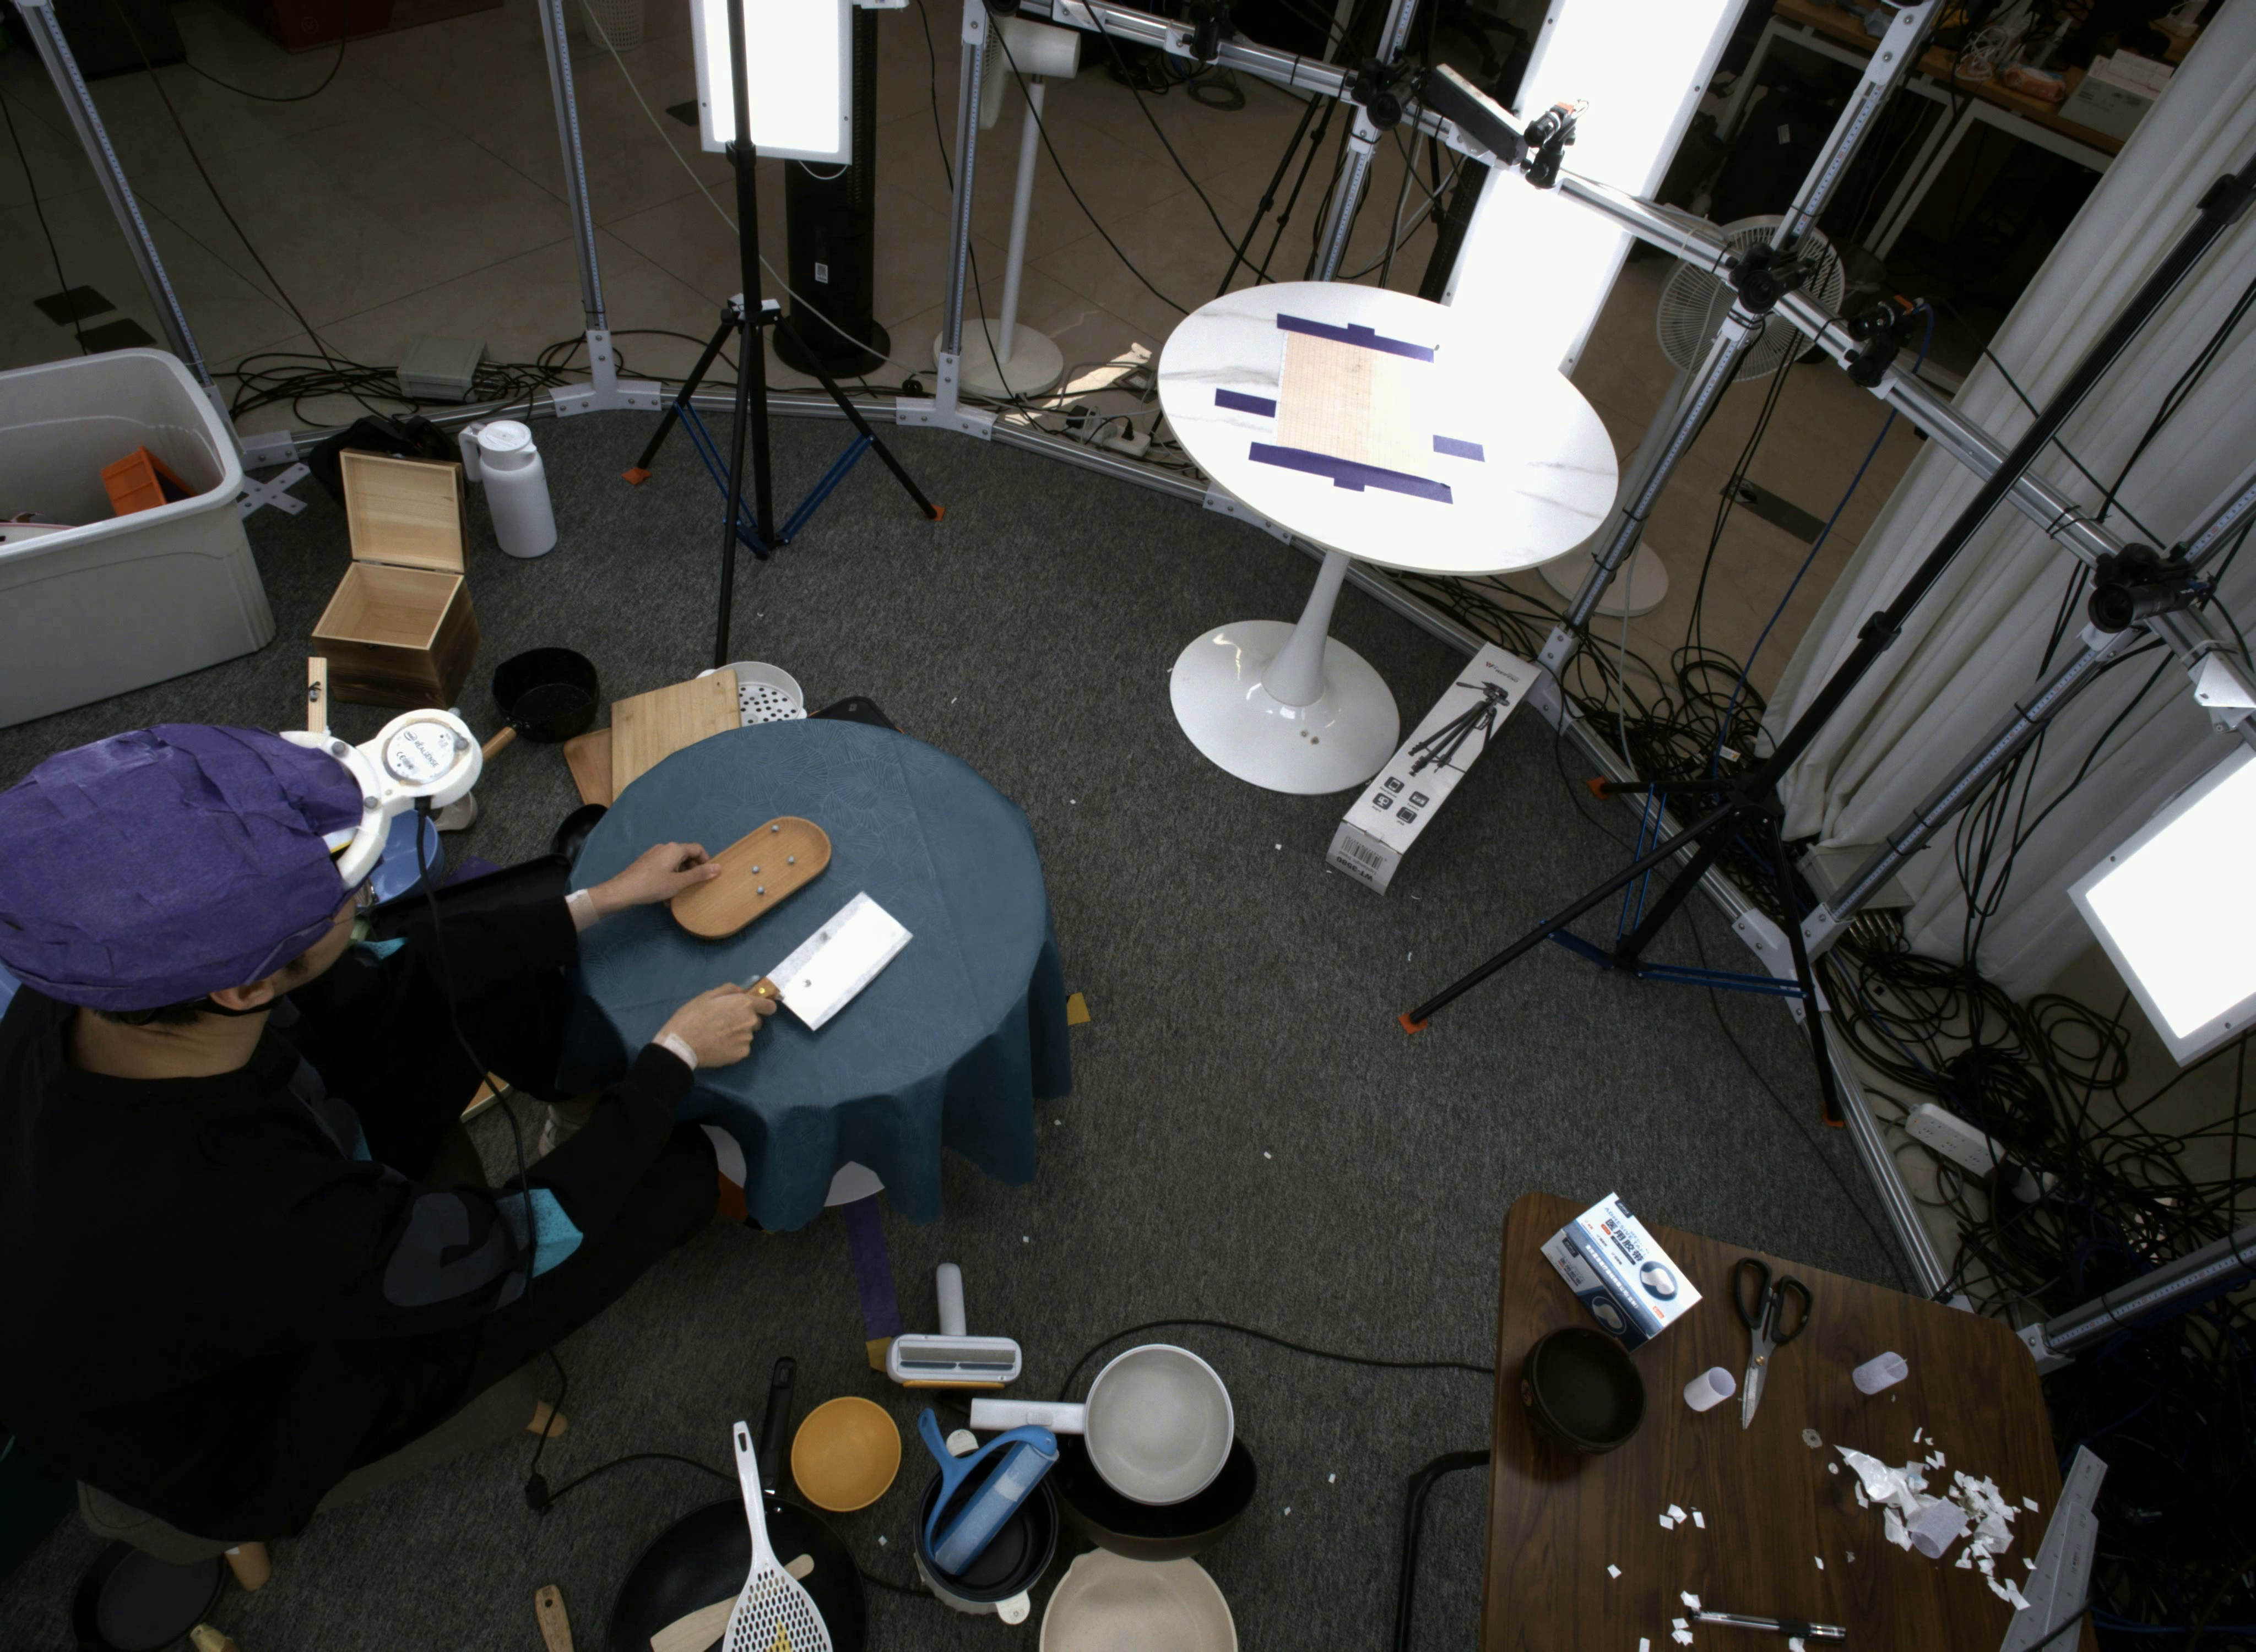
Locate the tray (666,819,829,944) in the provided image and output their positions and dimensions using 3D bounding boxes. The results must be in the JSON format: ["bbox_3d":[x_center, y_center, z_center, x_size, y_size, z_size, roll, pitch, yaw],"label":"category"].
[{"bbox_3d":[-0.477,0.066,1.628,0.100,0.020,0.231,41,51,12],"label":"tray"}]

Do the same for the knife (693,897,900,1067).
[{"bbox_3d":[-0.385,0.192,1.551,0.092,0.021,0.305,39,47,5],"label":"knife"}]
